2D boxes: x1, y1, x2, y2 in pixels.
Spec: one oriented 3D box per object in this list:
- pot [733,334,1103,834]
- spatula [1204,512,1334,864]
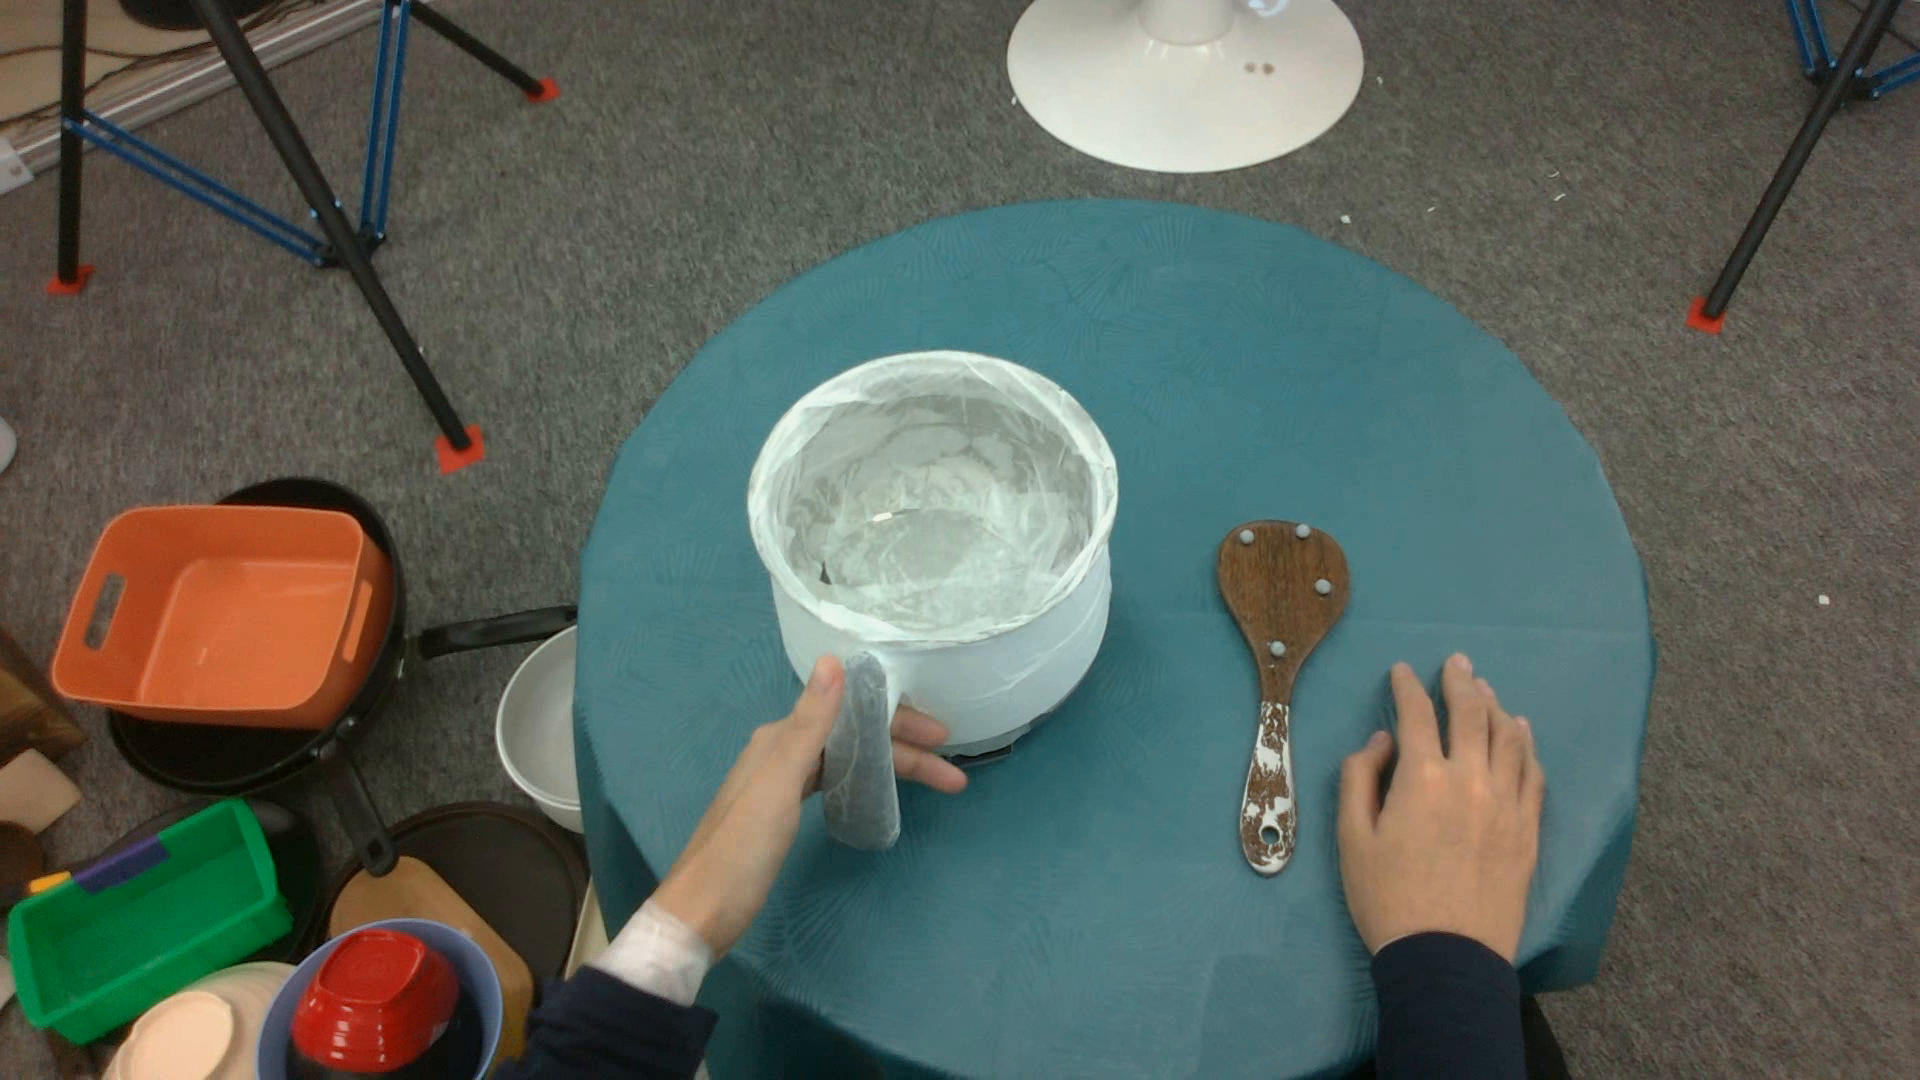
[{"bbox_3d":[-0.024,0.024,0.691,0.178,0.136,0.235,10,55,12],"label":"pot"},{"bbox_3d":[0.160,0.071,0.736,0.072,0.009,0.217,8,56,8],"label":"spatula"}]
